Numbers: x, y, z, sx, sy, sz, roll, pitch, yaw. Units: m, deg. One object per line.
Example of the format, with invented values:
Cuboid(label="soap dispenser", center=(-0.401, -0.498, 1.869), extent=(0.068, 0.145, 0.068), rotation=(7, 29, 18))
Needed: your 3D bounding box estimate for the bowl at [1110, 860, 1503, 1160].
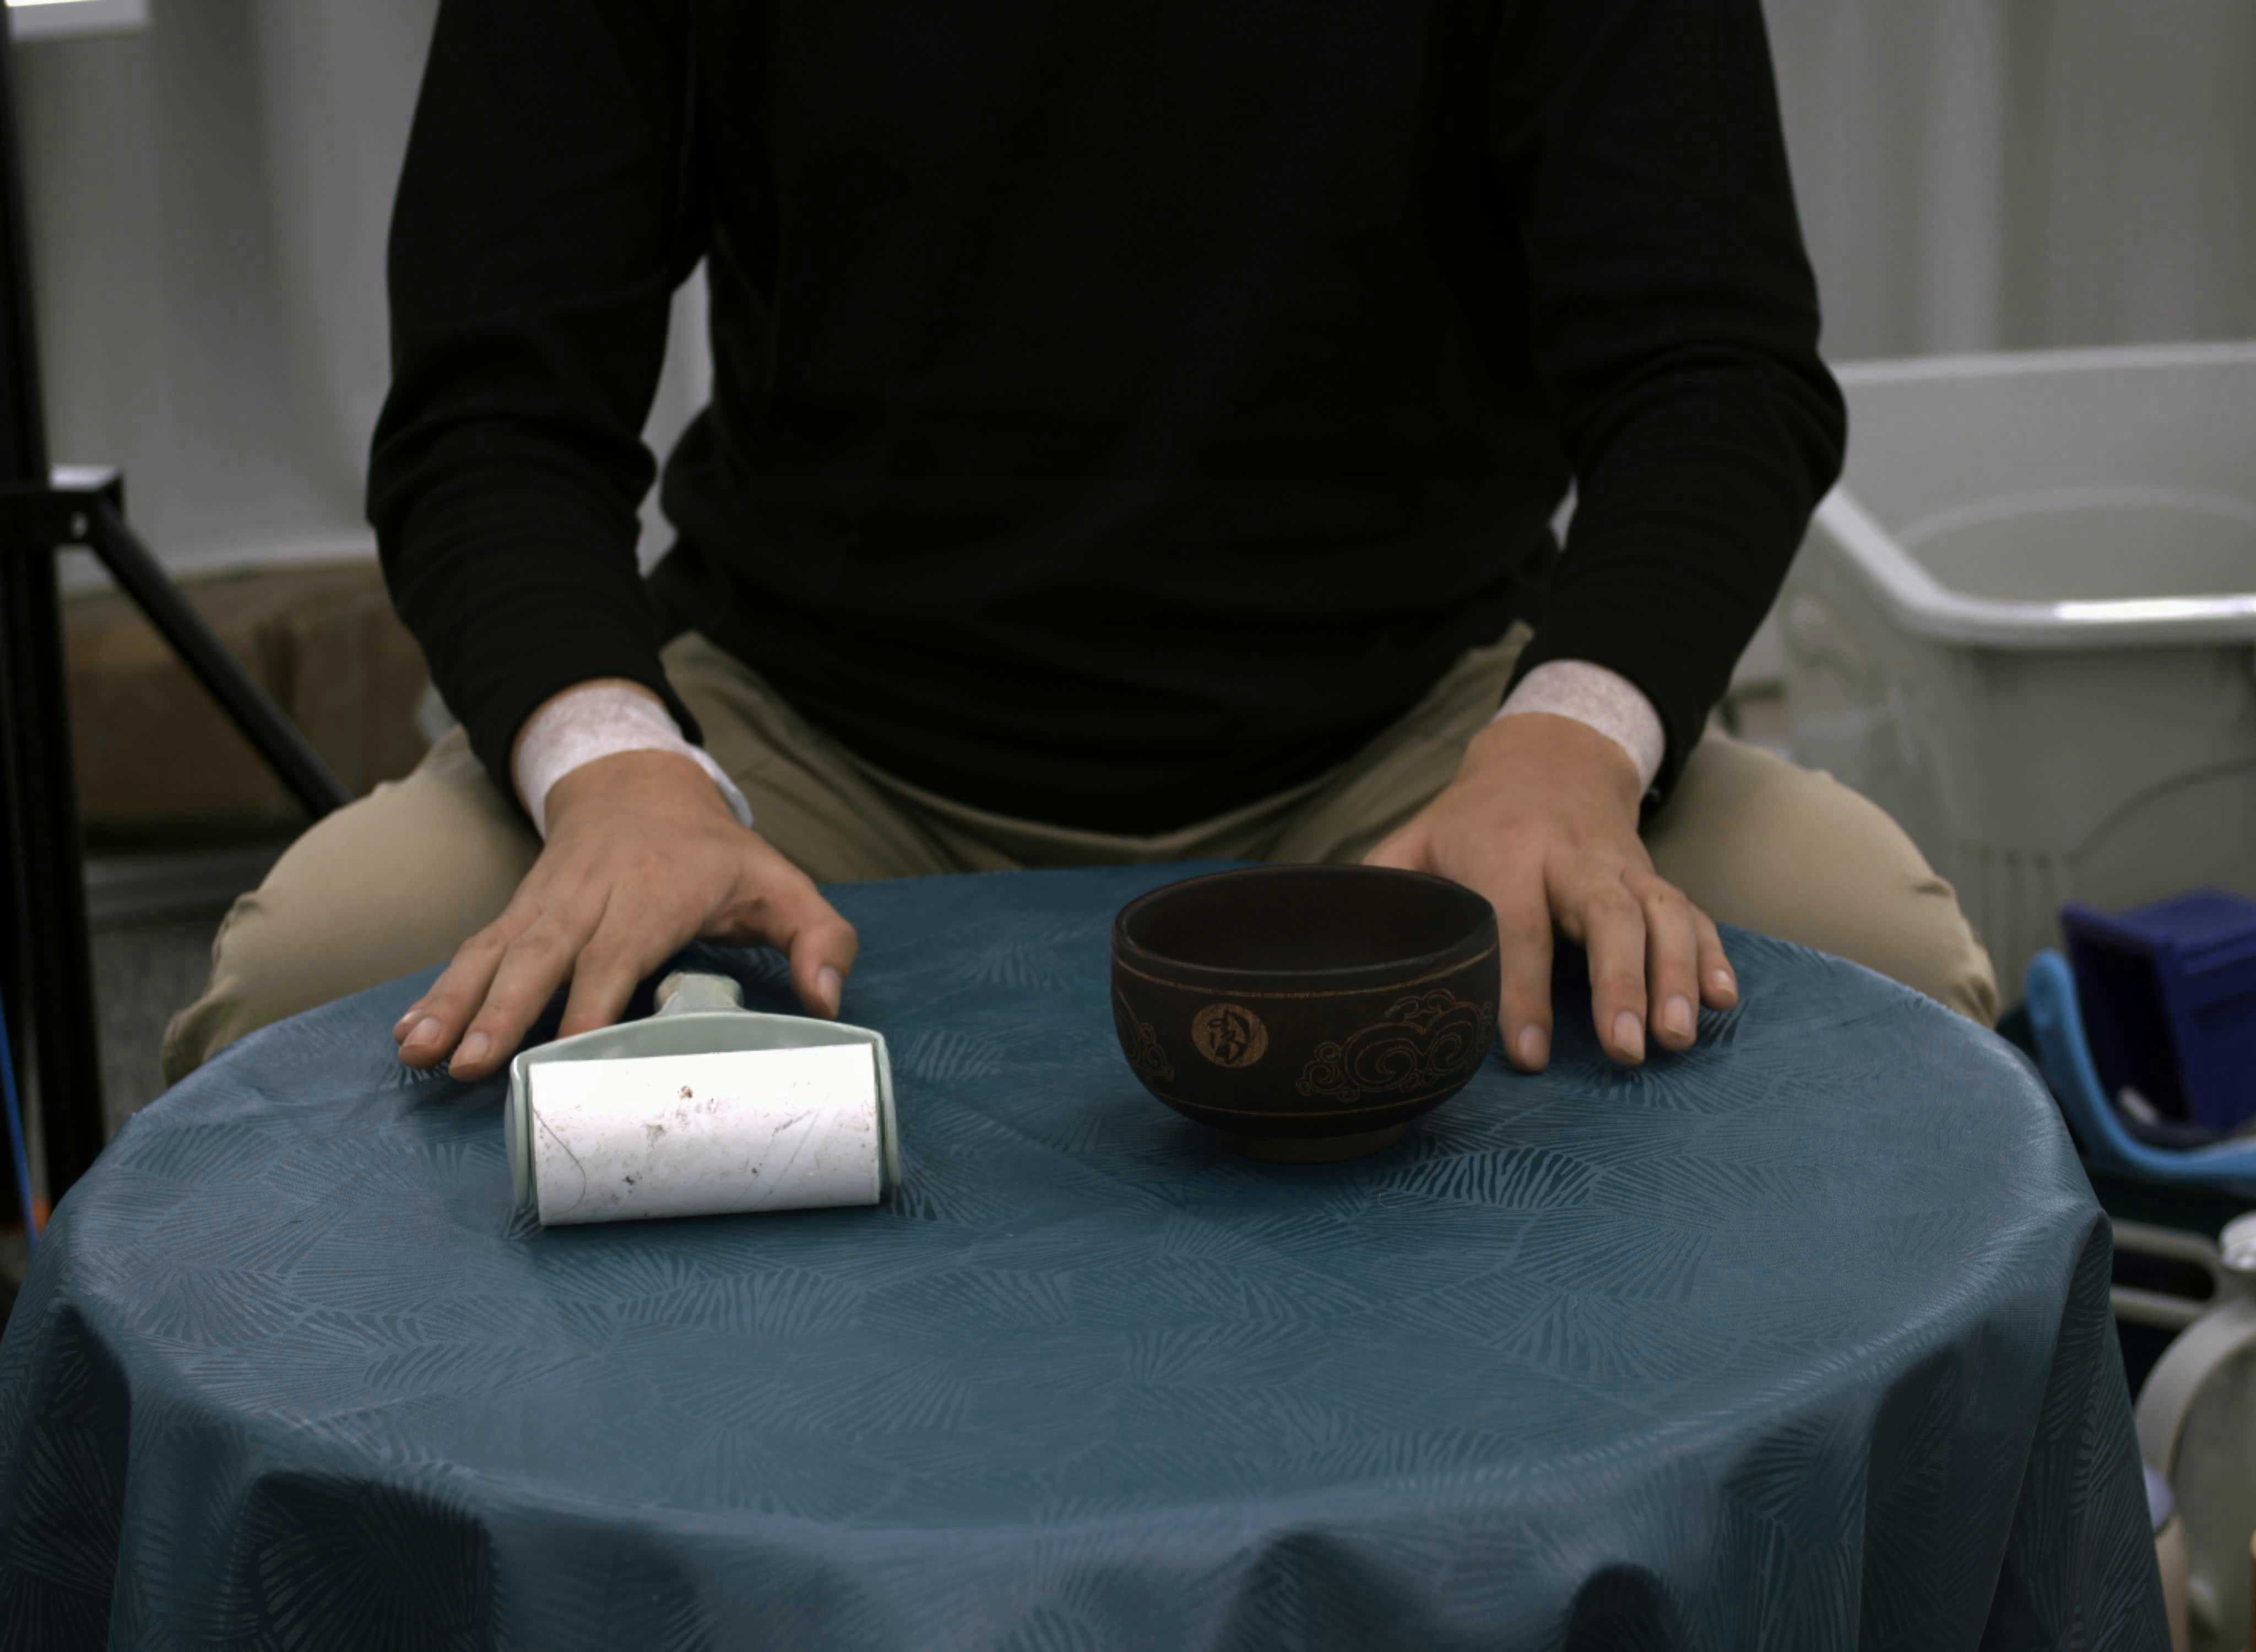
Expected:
Cuboid(label="bowl", center=(0.054, 0.059, 1.591), extent=(0.117, 0.070, 0.118), rotation=(-3, 15, 0))

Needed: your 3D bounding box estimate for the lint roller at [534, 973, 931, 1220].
Cuboid(label="lint roller", center=(-0.122, 0.071, 1.626), extent=(0.116, 0.048, 0.199), rotation=(-5, 14, -4))
